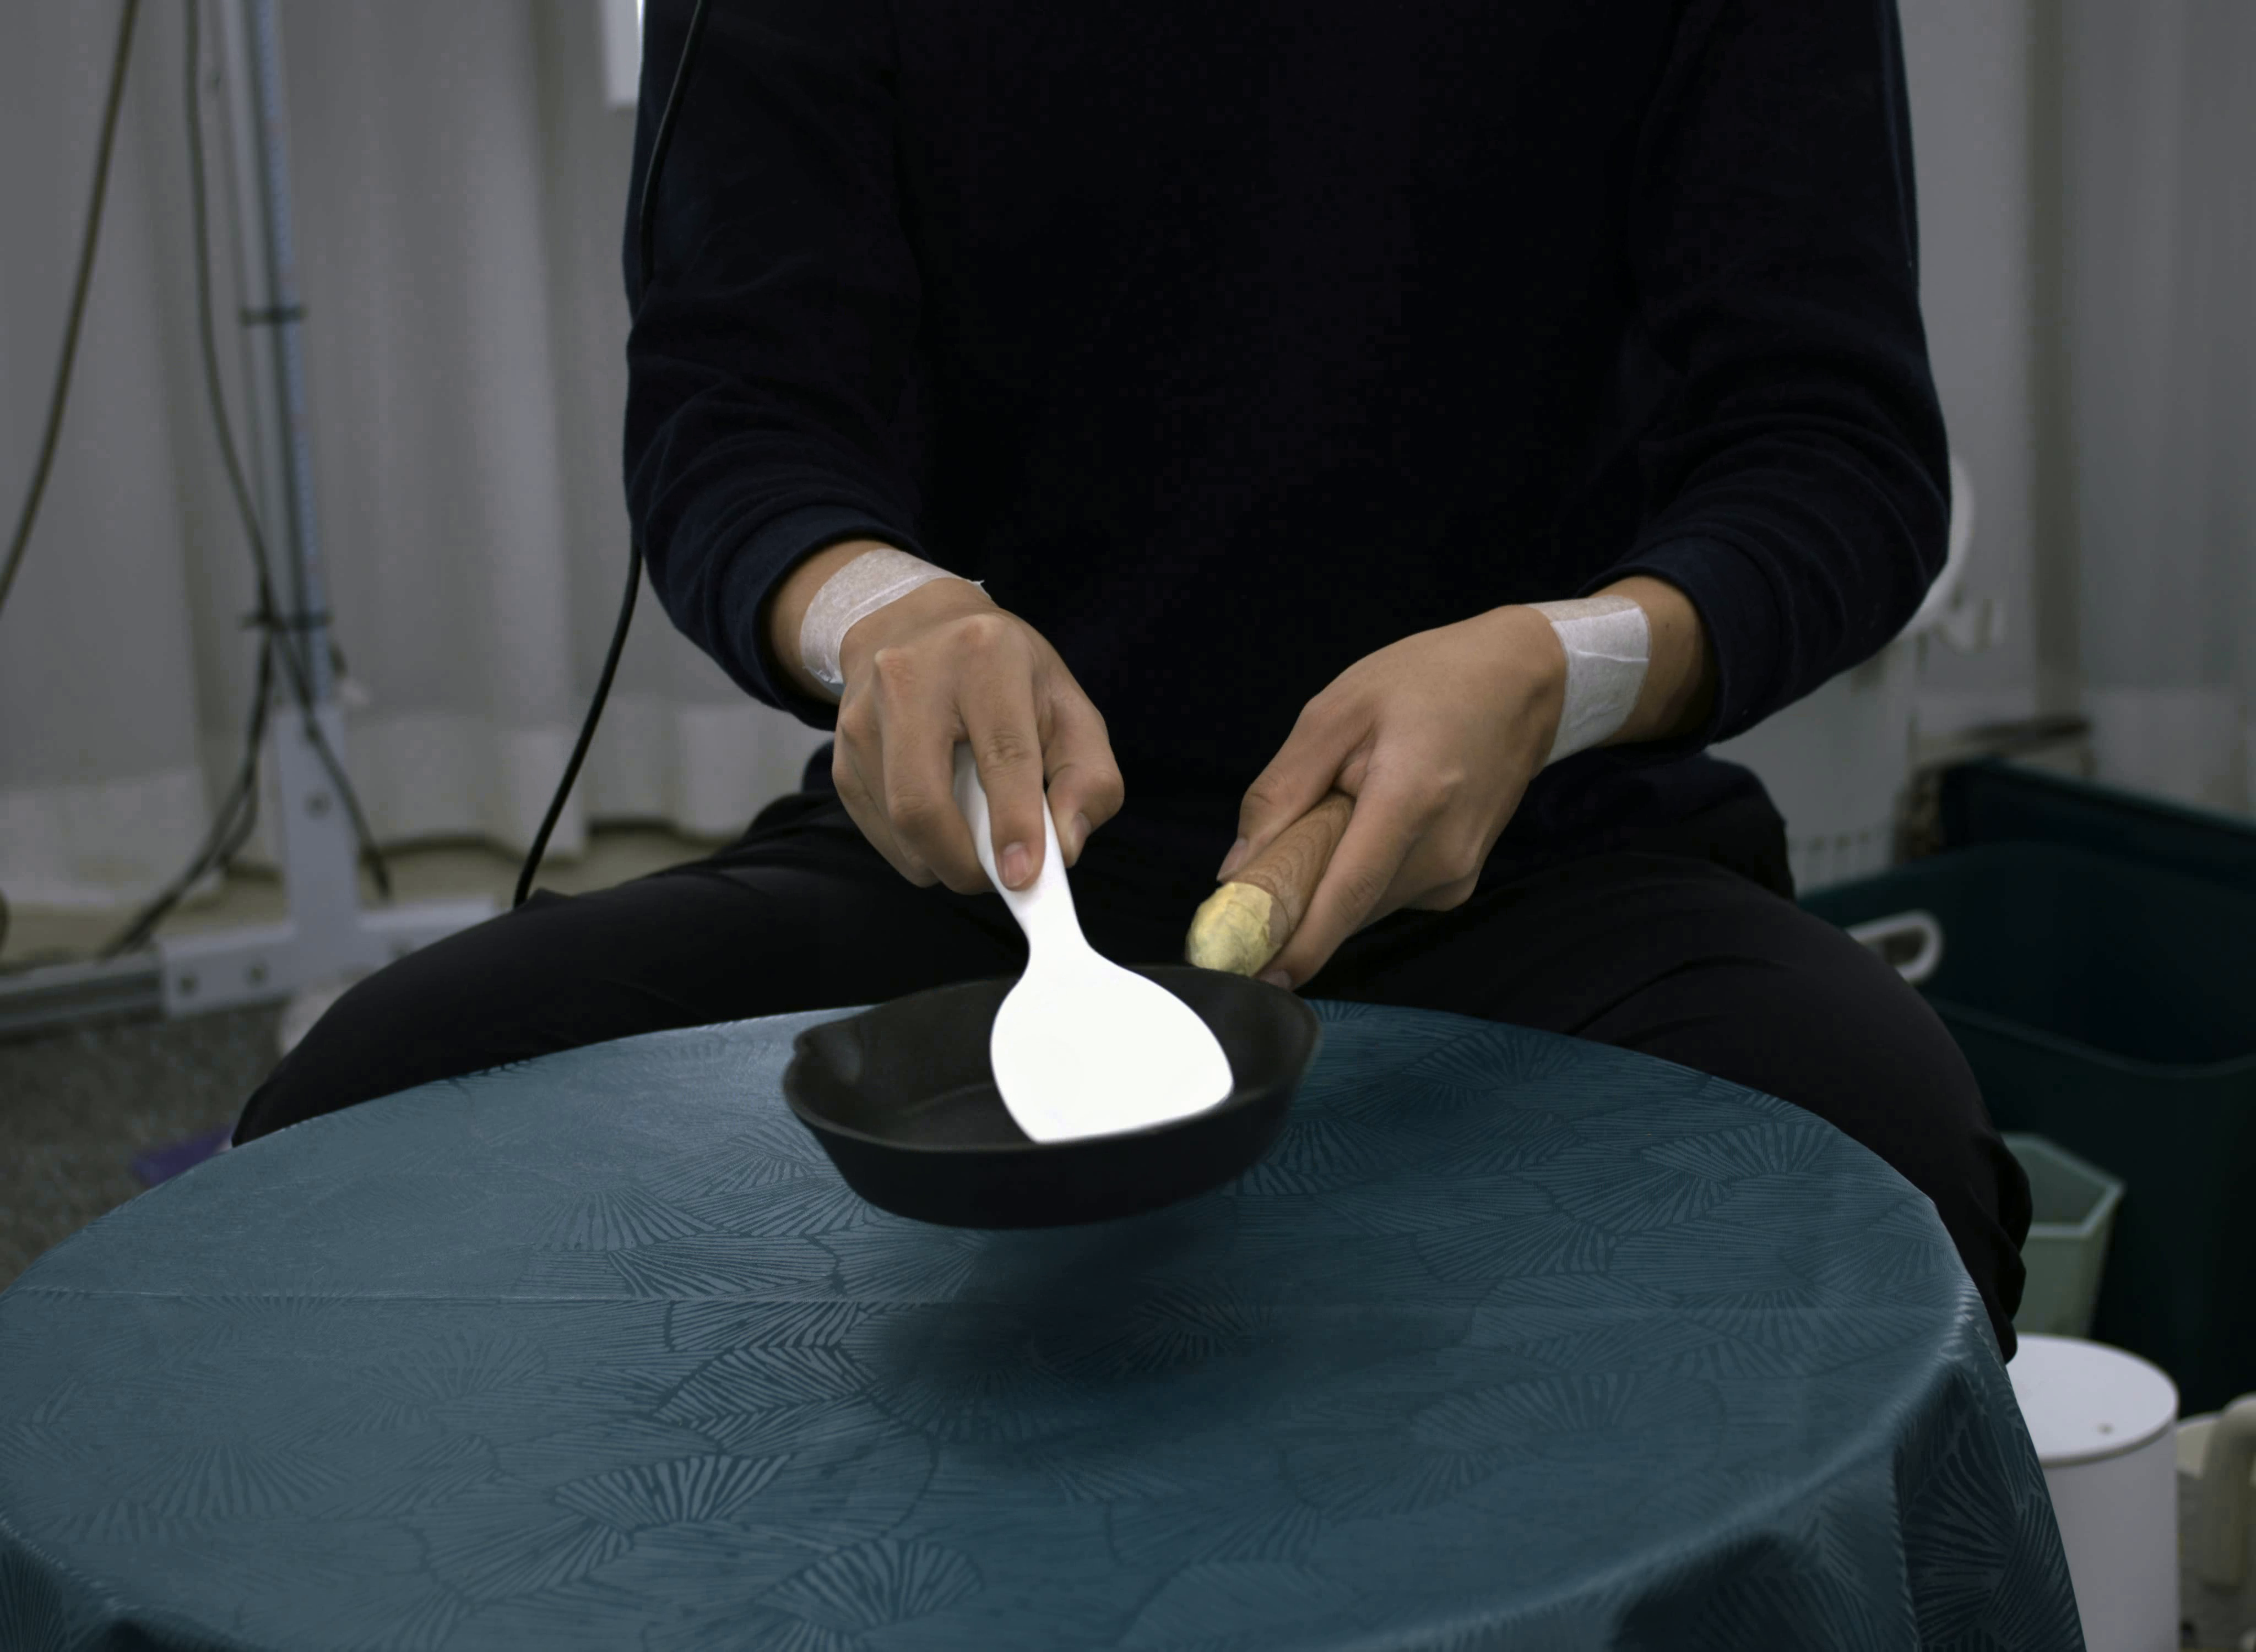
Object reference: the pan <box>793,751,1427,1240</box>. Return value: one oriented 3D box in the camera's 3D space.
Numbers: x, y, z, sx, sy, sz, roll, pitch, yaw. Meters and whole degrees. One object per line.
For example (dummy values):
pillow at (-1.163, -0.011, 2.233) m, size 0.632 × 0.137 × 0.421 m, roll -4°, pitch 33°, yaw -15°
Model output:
pan at (0.021, 0.048, 1.653) m, size 0.169 × 0.049 × 0.325 m, roll 5°, pitch 21°, yaw 28°

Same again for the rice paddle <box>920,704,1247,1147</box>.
rice paddle at (-0.019, 0.035, 1.632) m, size 0.068 × 0.029 × 0.208 m, roll -10°, pitch 40°, yaw -14°
